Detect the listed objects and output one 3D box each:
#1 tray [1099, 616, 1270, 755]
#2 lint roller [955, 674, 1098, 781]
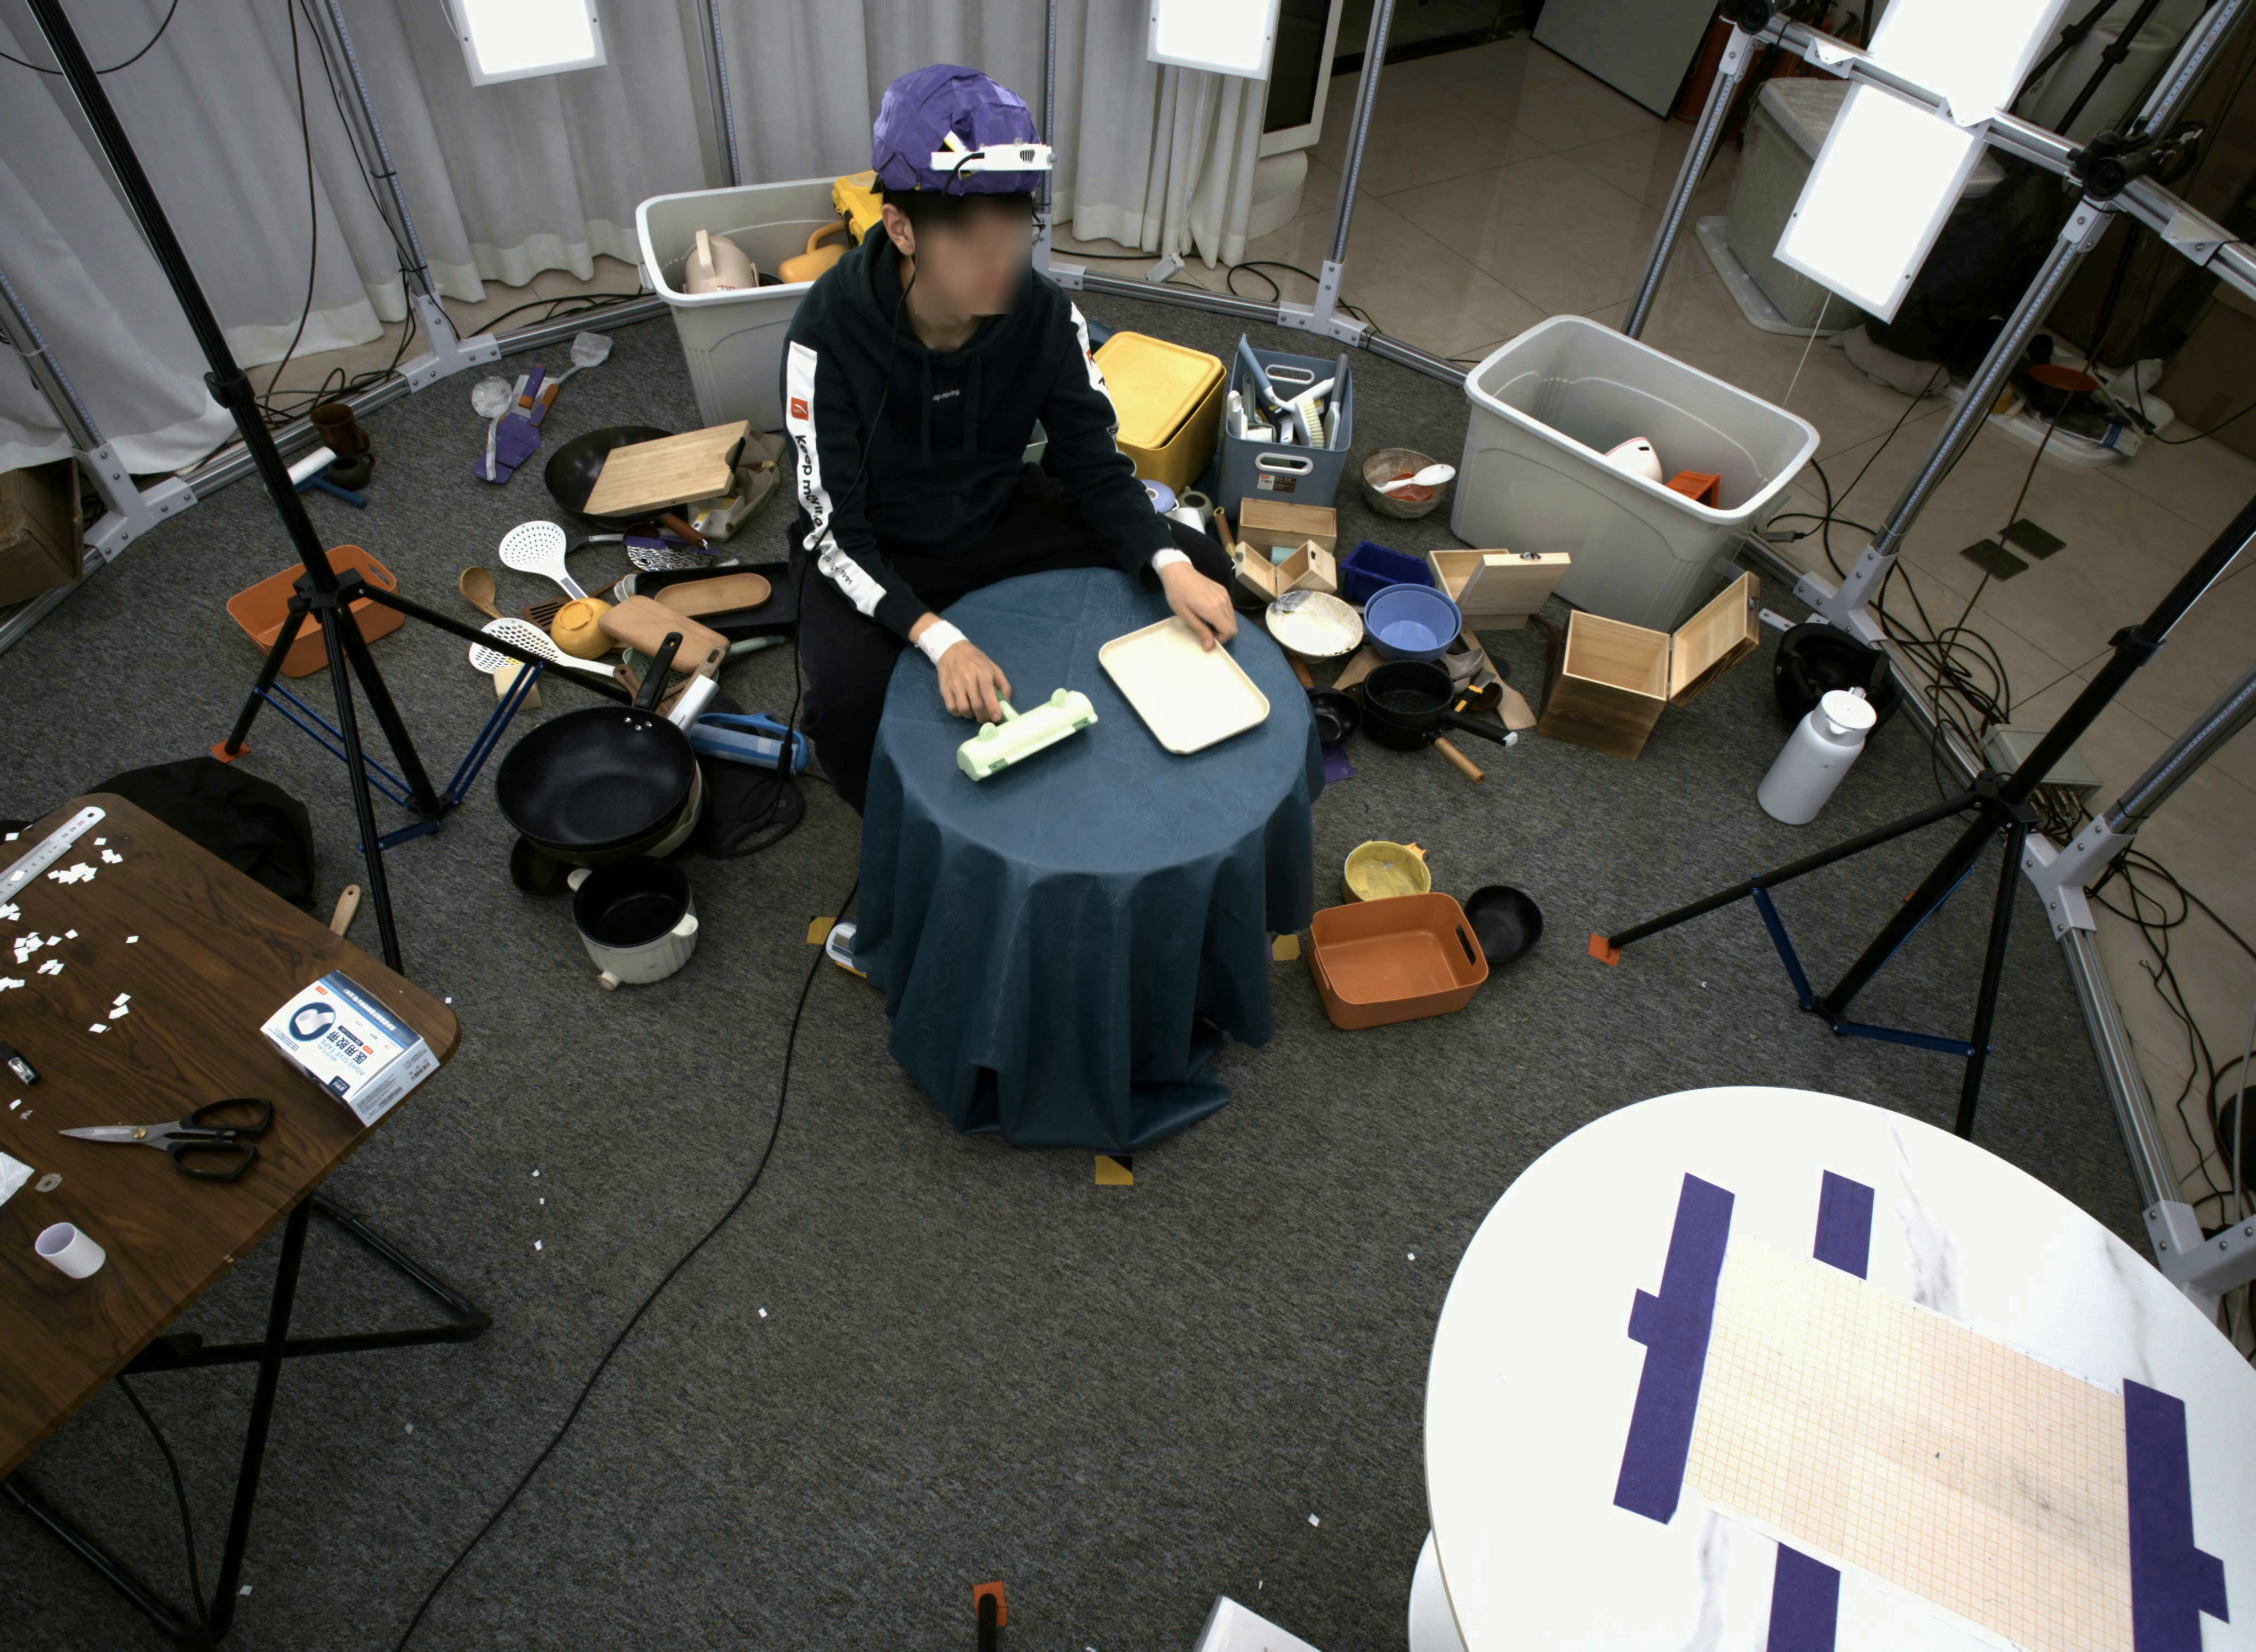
[{"bbox_3d":[0.078,-0.202,1.831,0.172,0.017,0.245,-22,55,-19],"label":"tray"},{"bbox_3d":[-0.169,-0.165,1.750,0.199,0.080,0.186,-28,61,-25],"label":"lint roller"}]
